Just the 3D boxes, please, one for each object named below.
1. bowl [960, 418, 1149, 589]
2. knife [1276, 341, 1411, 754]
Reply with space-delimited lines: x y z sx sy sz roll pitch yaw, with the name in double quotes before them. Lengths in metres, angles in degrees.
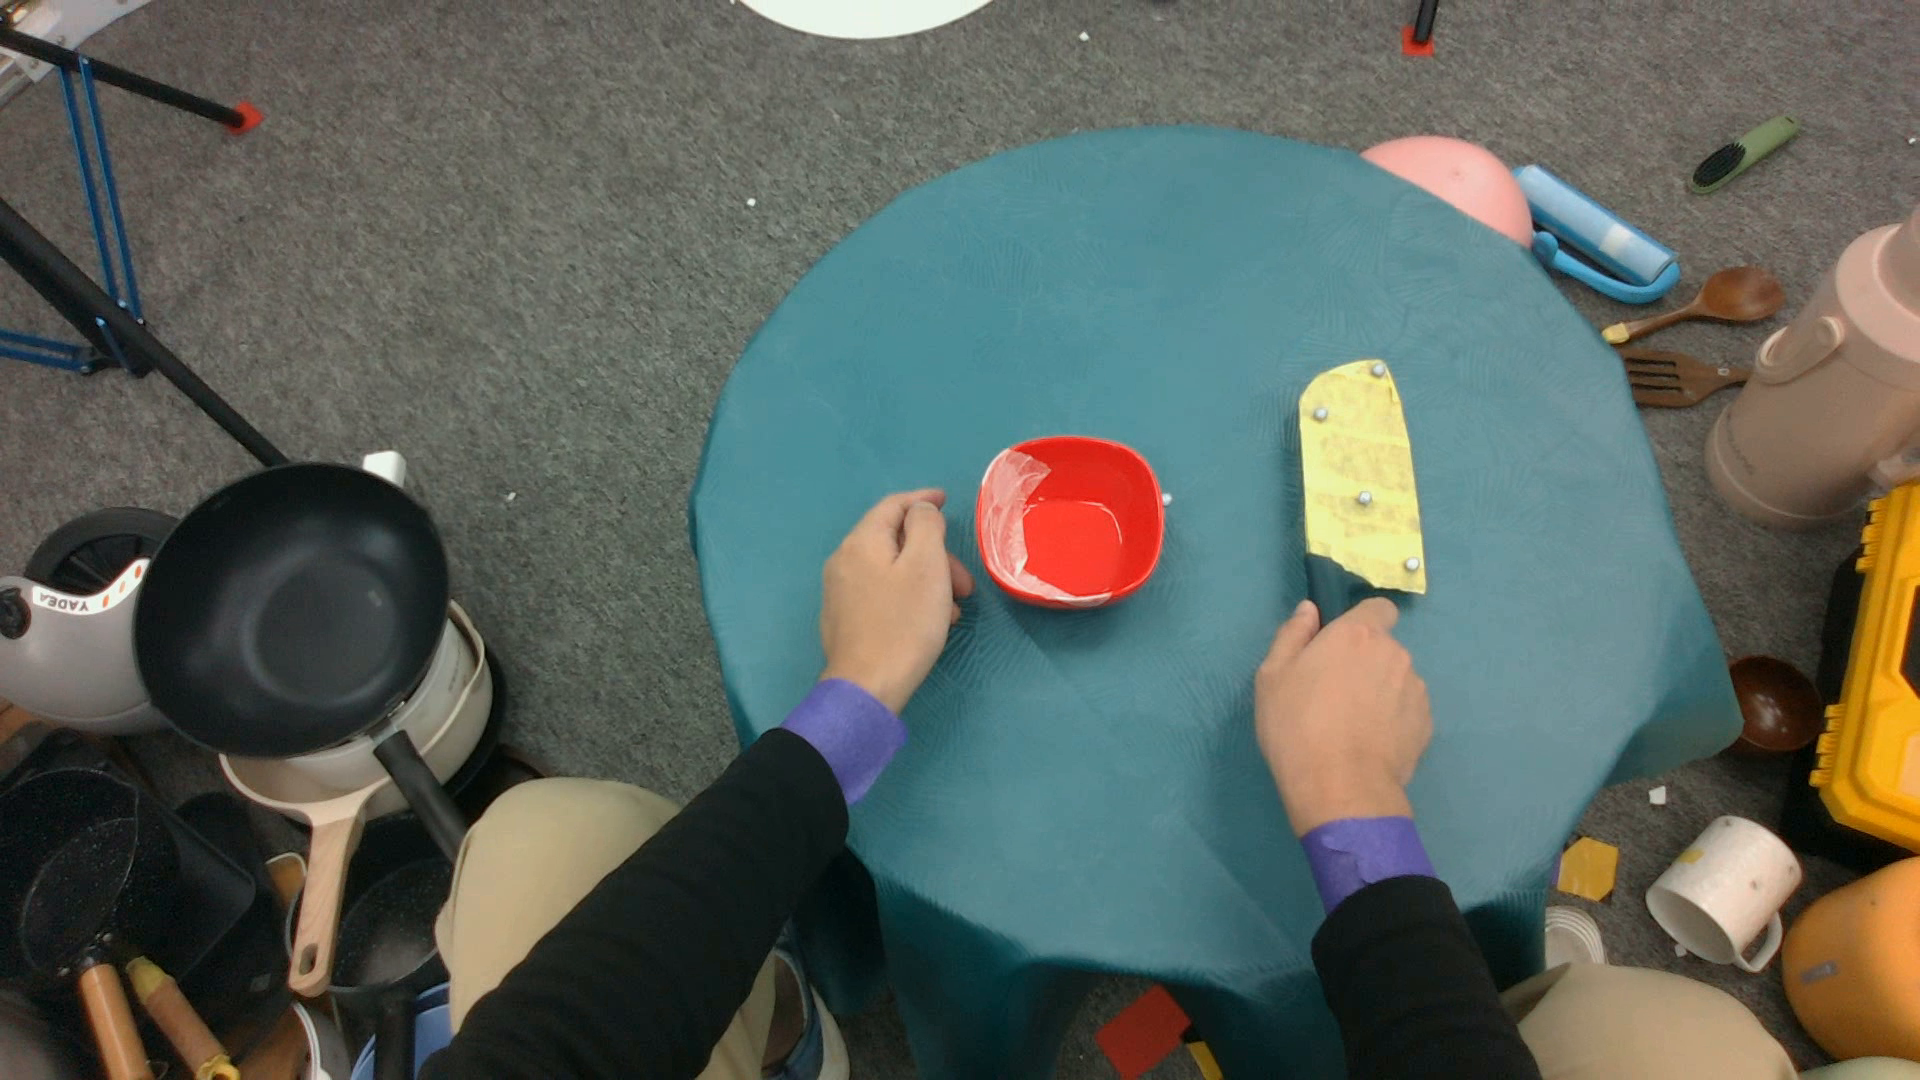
"bowl" 0.055 -0.014 0.821 0.119 0.051 0.119 0 61 1
"knife" 0.228 -0.007 0.819 0.081 0.027 0.291 9 59 -1
